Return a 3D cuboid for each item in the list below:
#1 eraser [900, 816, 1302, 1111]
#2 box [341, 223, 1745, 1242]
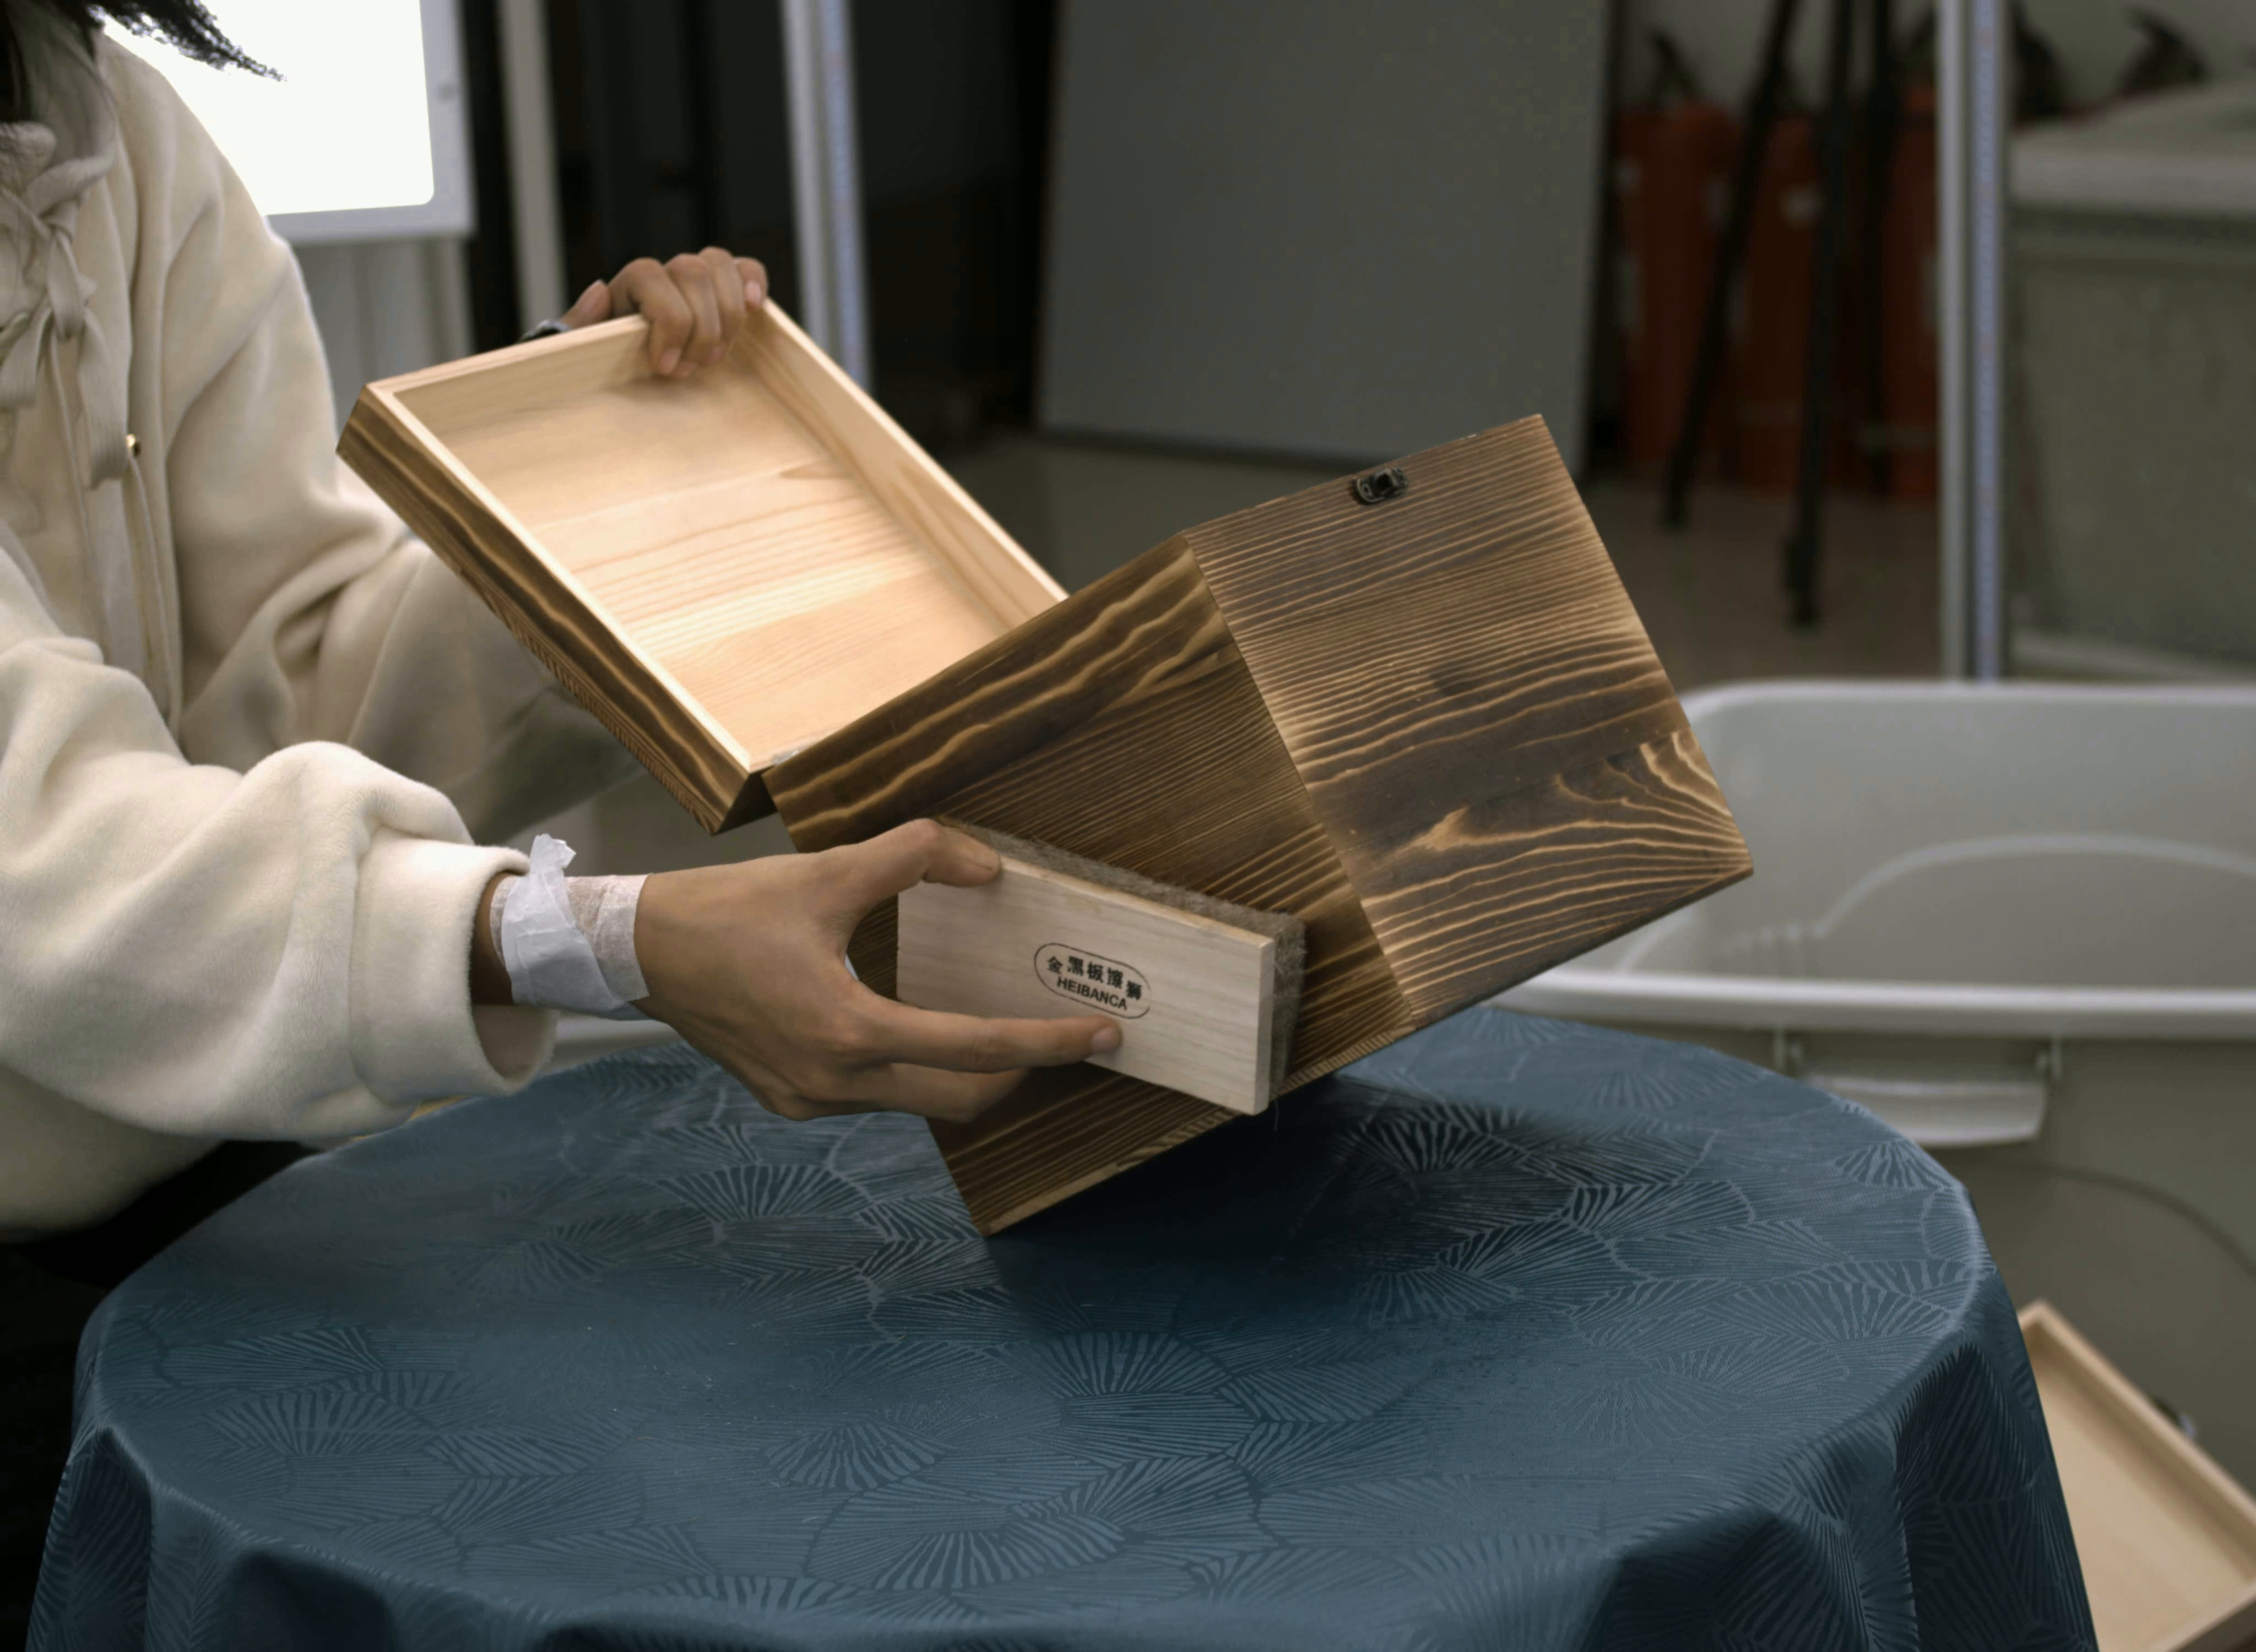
[{"bbox_3d":[-0.009,0.039,1.657,0.140,0.058,0.028,18,25,36],"label":"eraser"},{"bbox_3d":[-0.034,-0.072,1.790,0.325,0.379,0.205,-29,-5,40],"label":"box"}]
